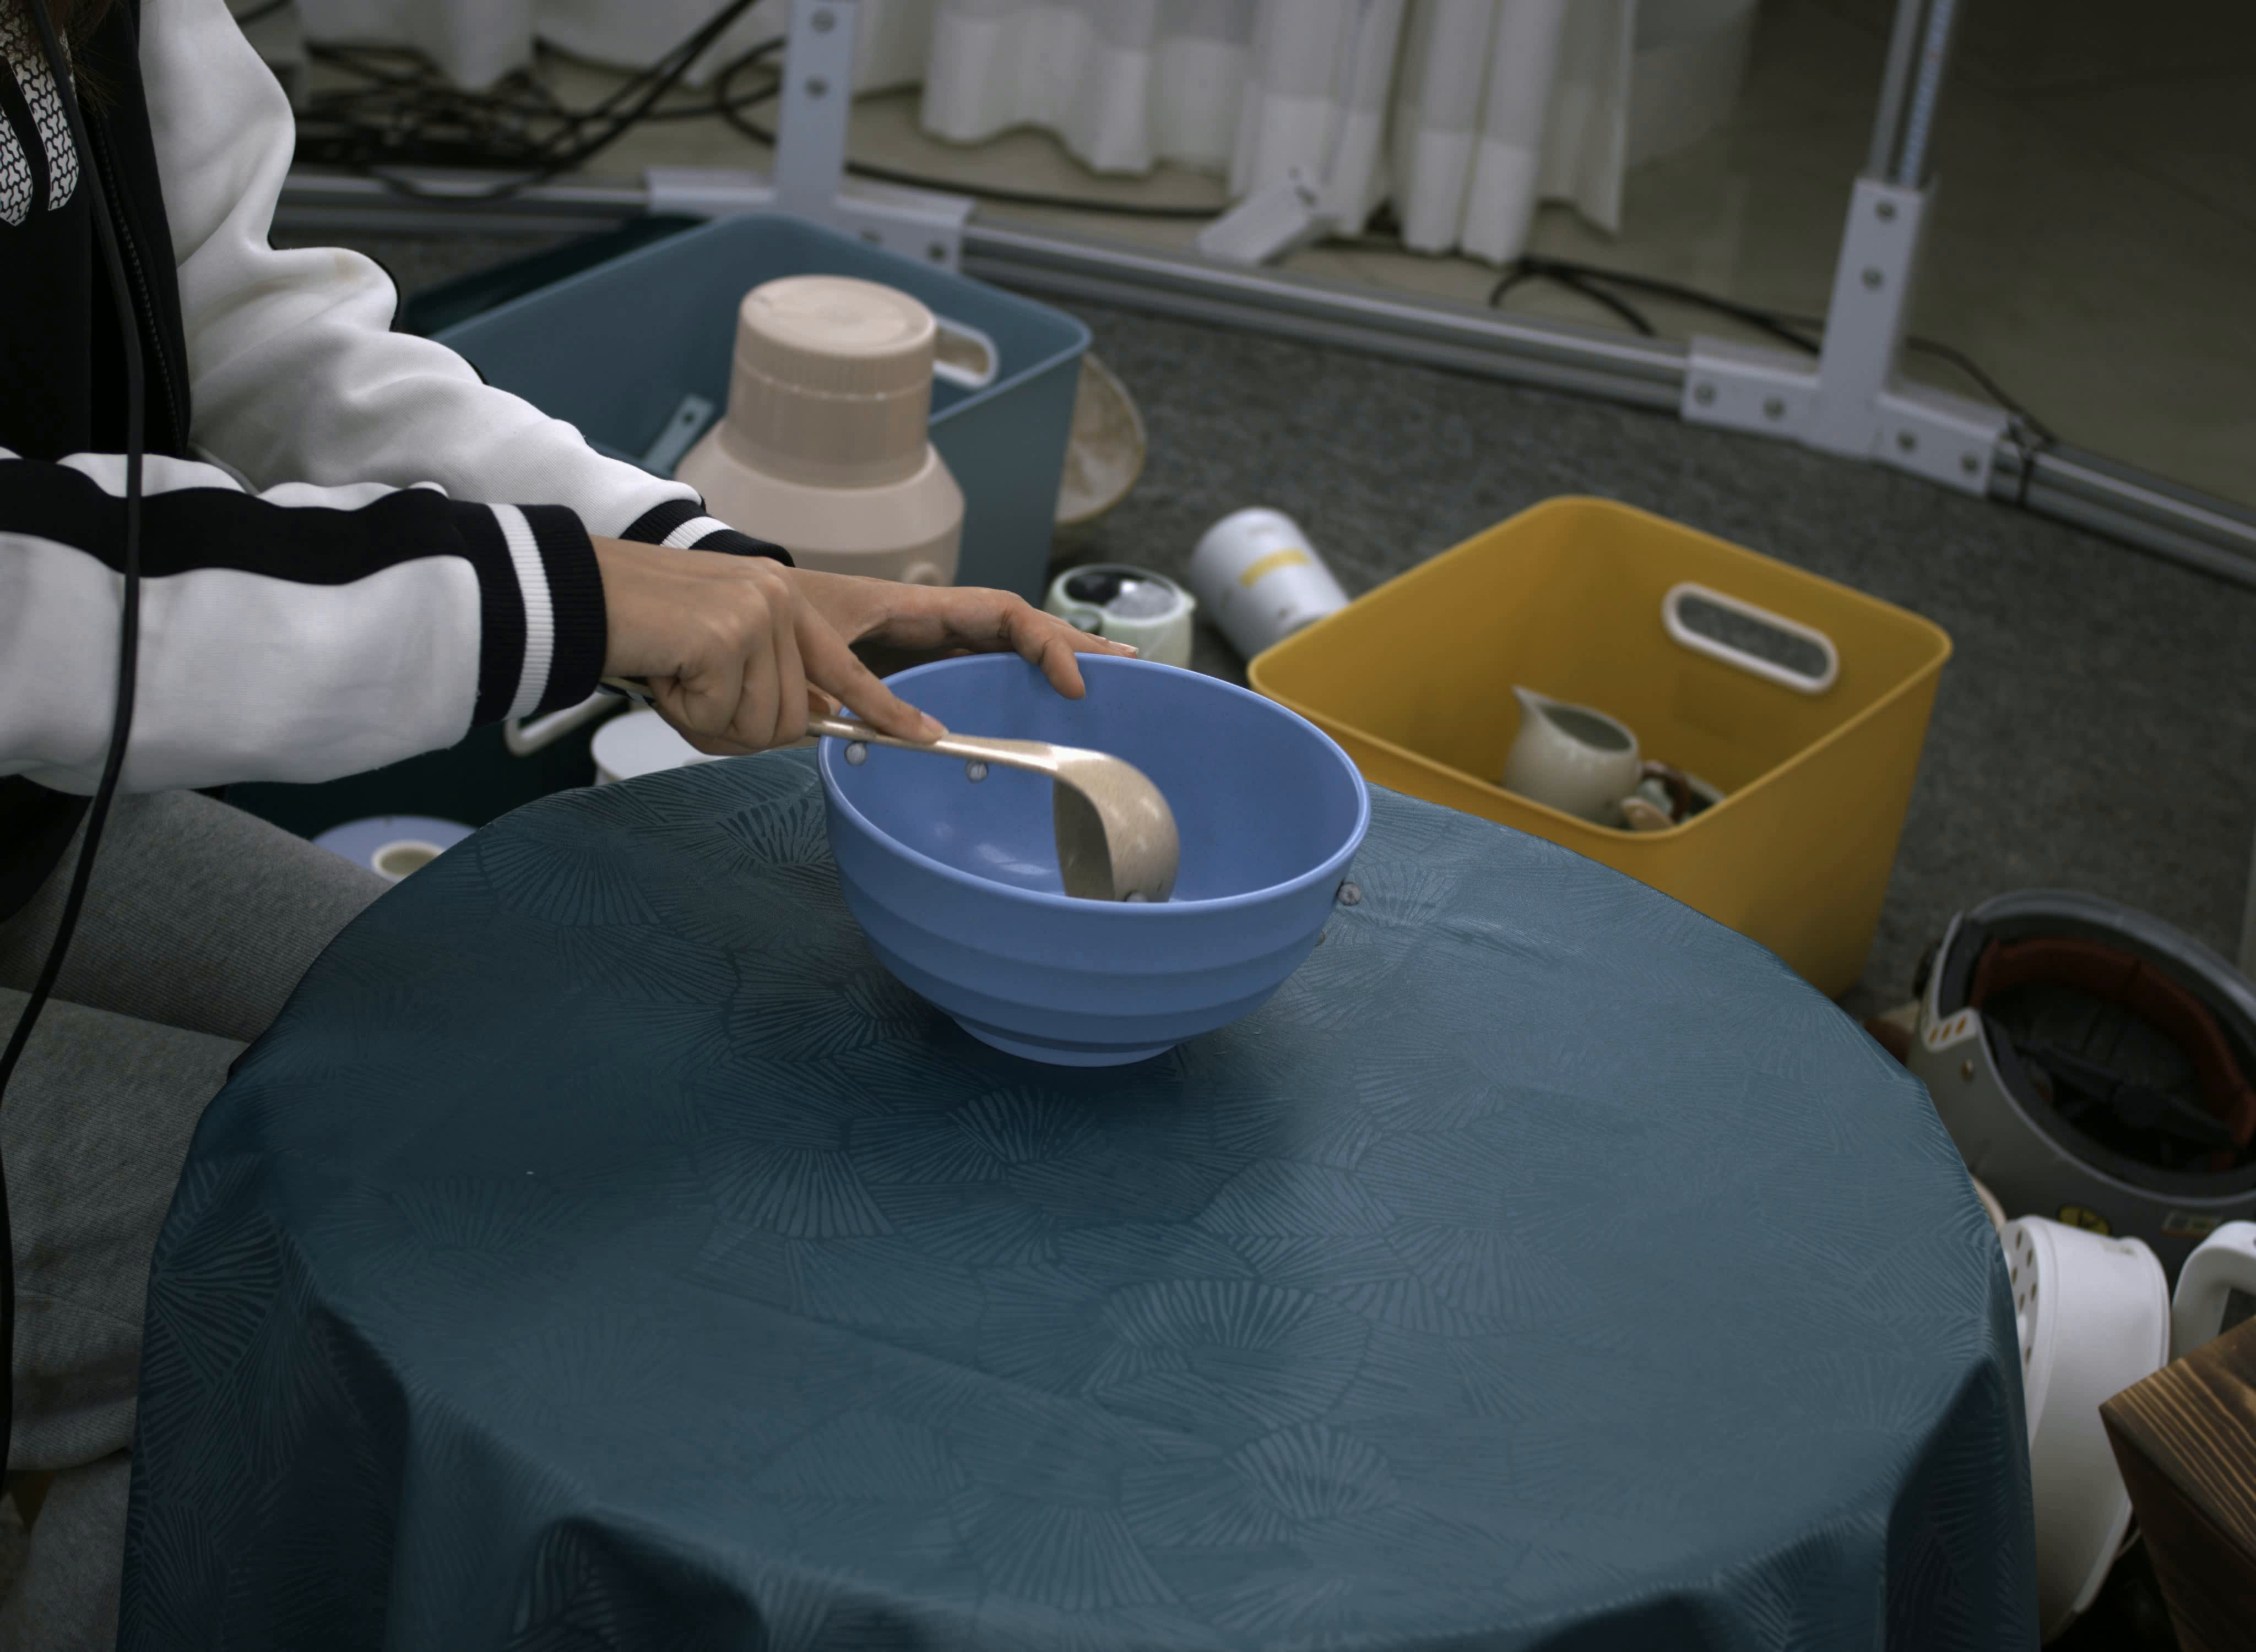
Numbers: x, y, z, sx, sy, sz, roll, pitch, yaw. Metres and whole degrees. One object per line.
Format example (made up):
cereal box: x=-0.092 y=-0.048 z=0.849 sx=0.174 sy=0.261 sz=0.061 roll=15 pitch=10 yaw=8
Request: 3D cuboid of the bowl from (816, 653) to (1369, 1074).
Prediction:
bowl: x=-0.016 y=0.025 z=1.894 sx=0.196 sy=0.095 sz=0.198 roll=4 pitch=28 yaw=-3

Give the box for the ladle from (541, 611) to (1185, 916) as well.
ladle: x=-0.099 y=-0.012 z=1.851 sx=0.252 sy=0.073 sz=0.073 roll=14 pitch=24 yaw=-24
